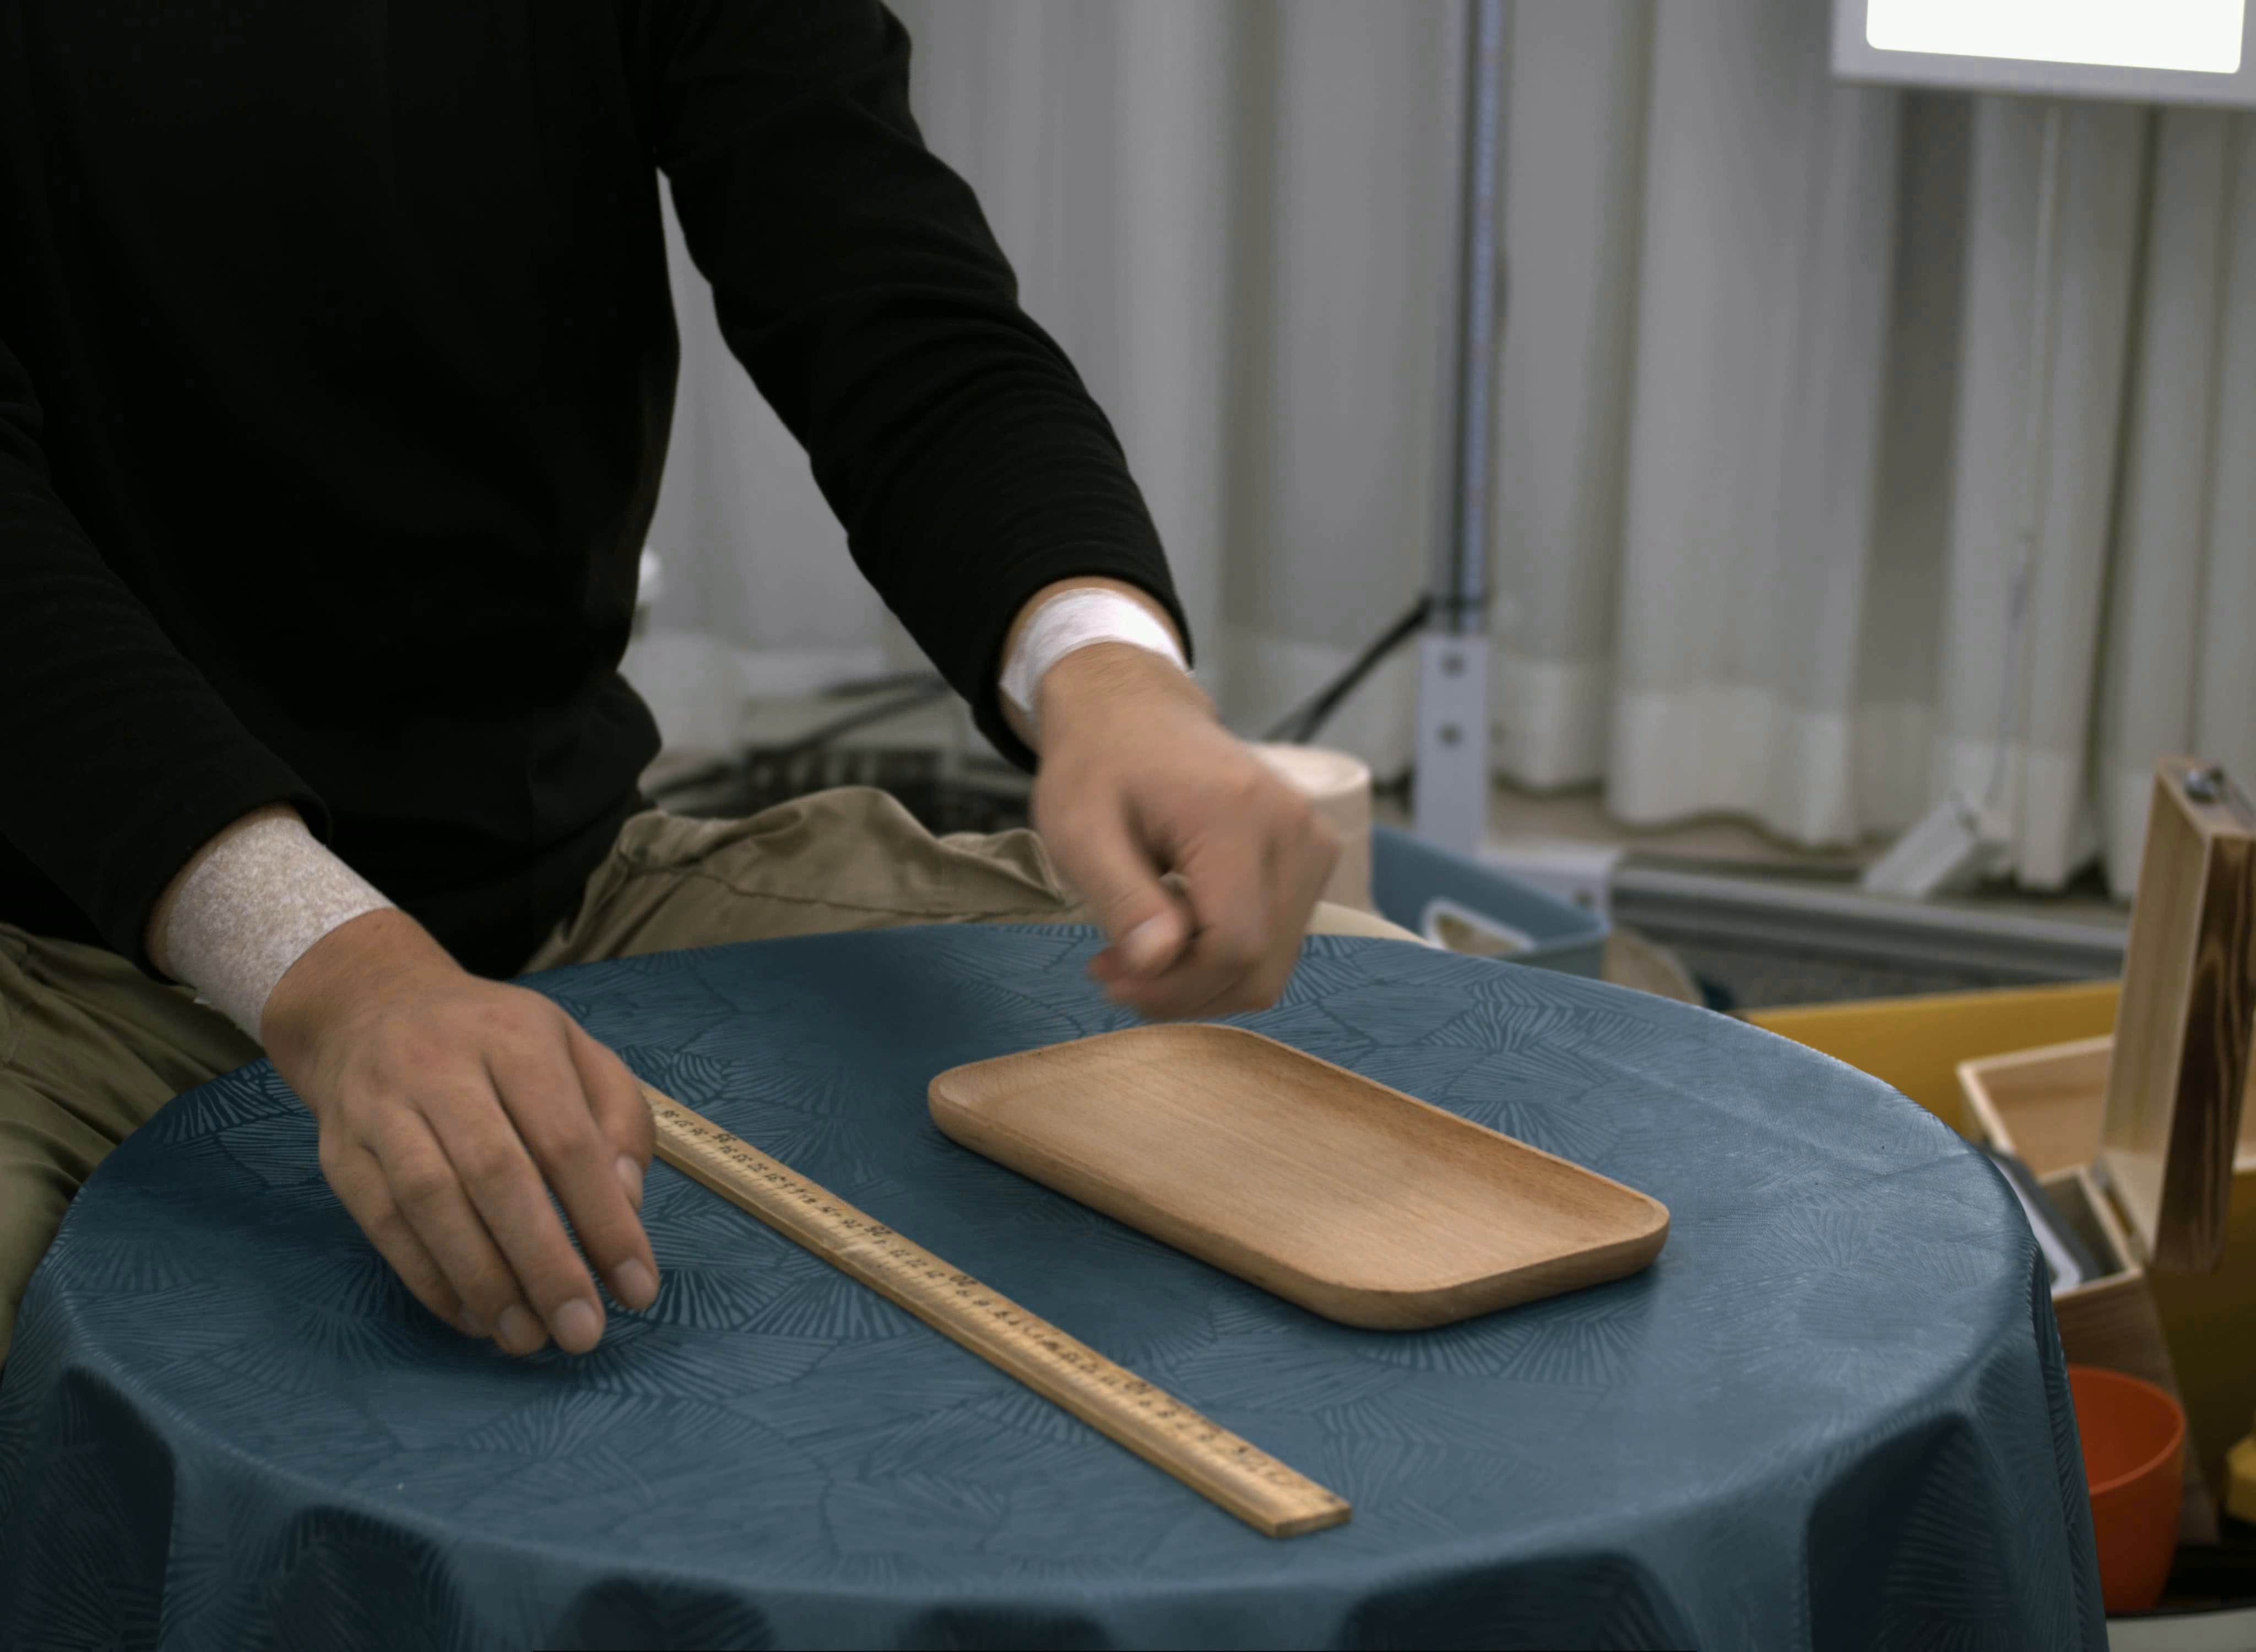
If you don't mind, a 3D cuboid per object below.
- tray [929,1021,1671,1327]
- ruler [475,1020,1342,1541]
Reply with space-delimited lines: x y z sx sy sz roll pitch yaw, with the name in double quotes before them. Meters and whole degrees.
"tray" 0.049 0.105 1.620 0.131 0.023 0.247 -8 16 -34
"ruler" -0.081 0.124 1.566 0.027 0.006 0.494 -7 17 -31
